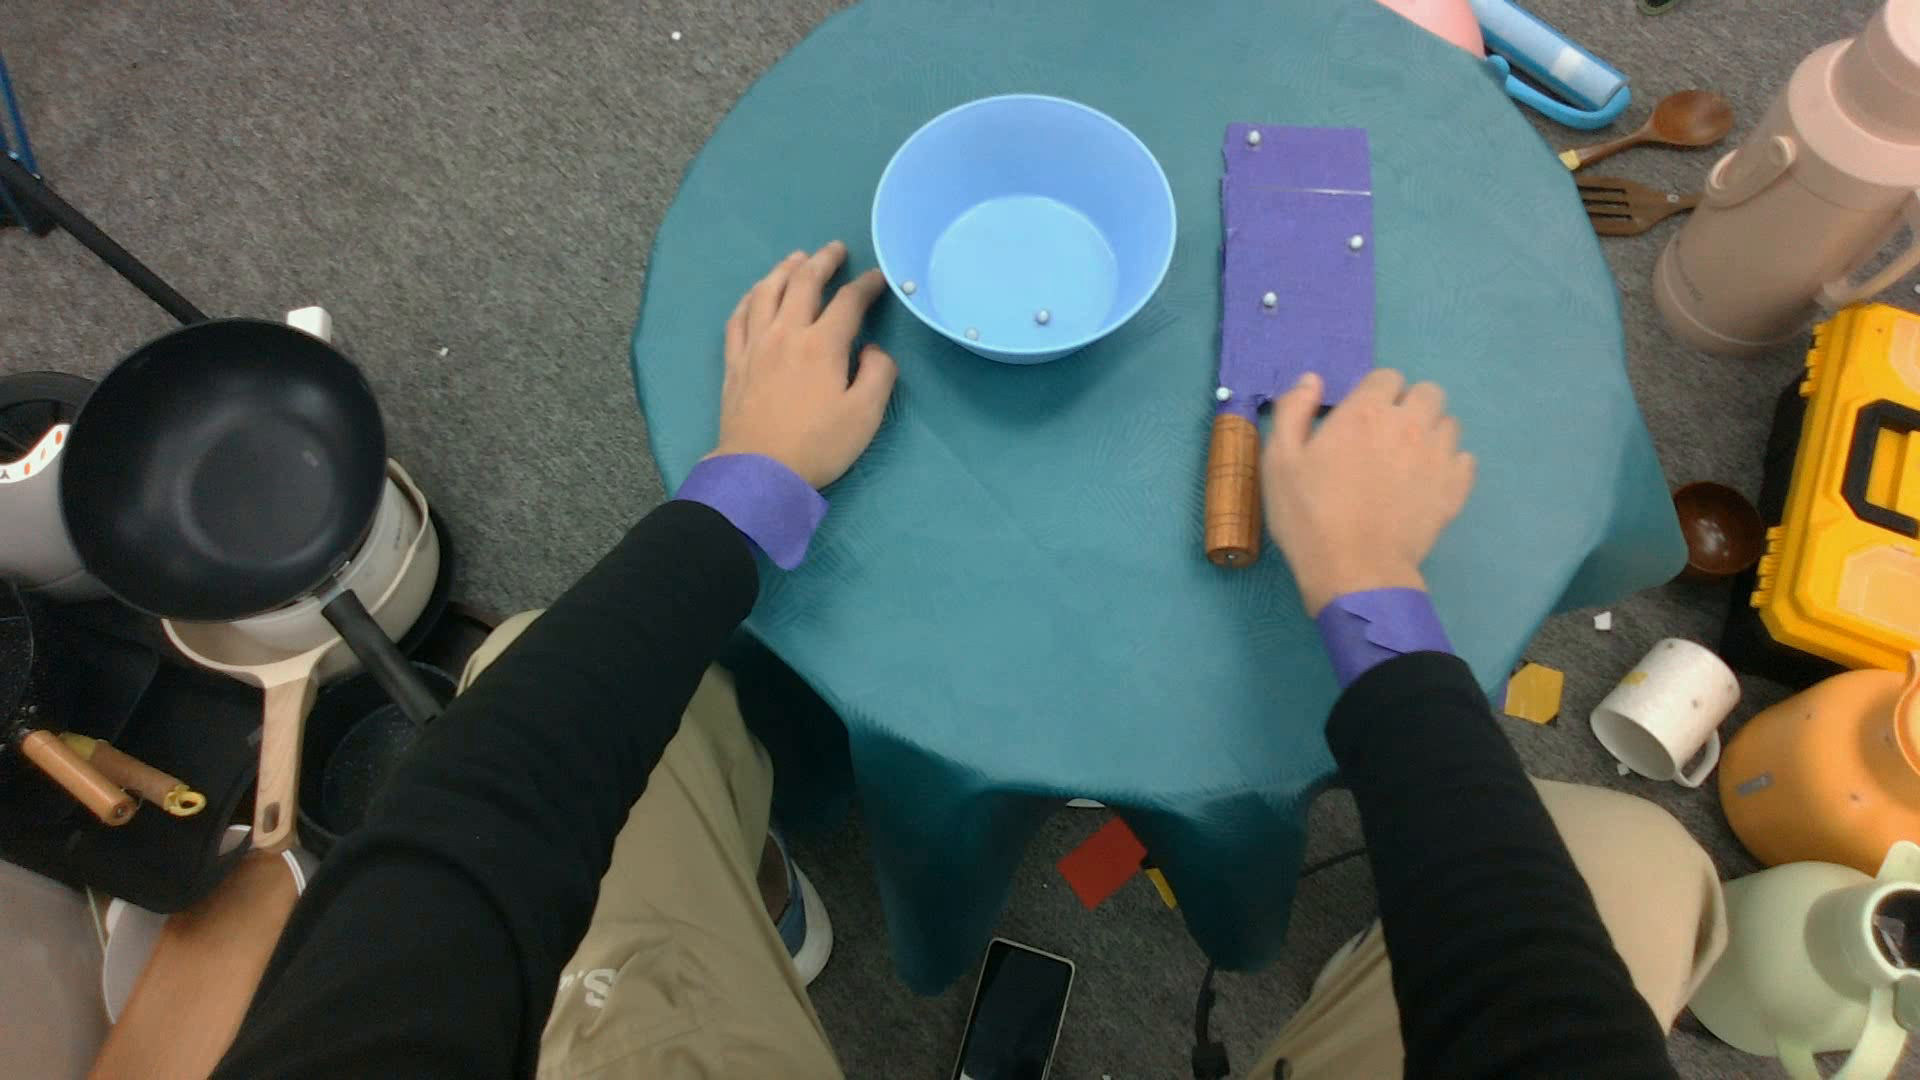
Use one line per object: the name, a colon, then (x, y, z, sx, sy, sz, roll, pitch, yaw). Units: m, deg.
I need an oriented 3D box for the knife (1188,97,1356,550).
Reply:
knife: (0.187, -0.142, 0.829, 0.104, 0.032, 0.316, 4, 68, 3)

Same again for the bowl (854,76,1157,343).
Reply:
bowl: (0.027, -0.185, 0.824, 0.176, 0.070, 0.176, 0, 69, 1)
